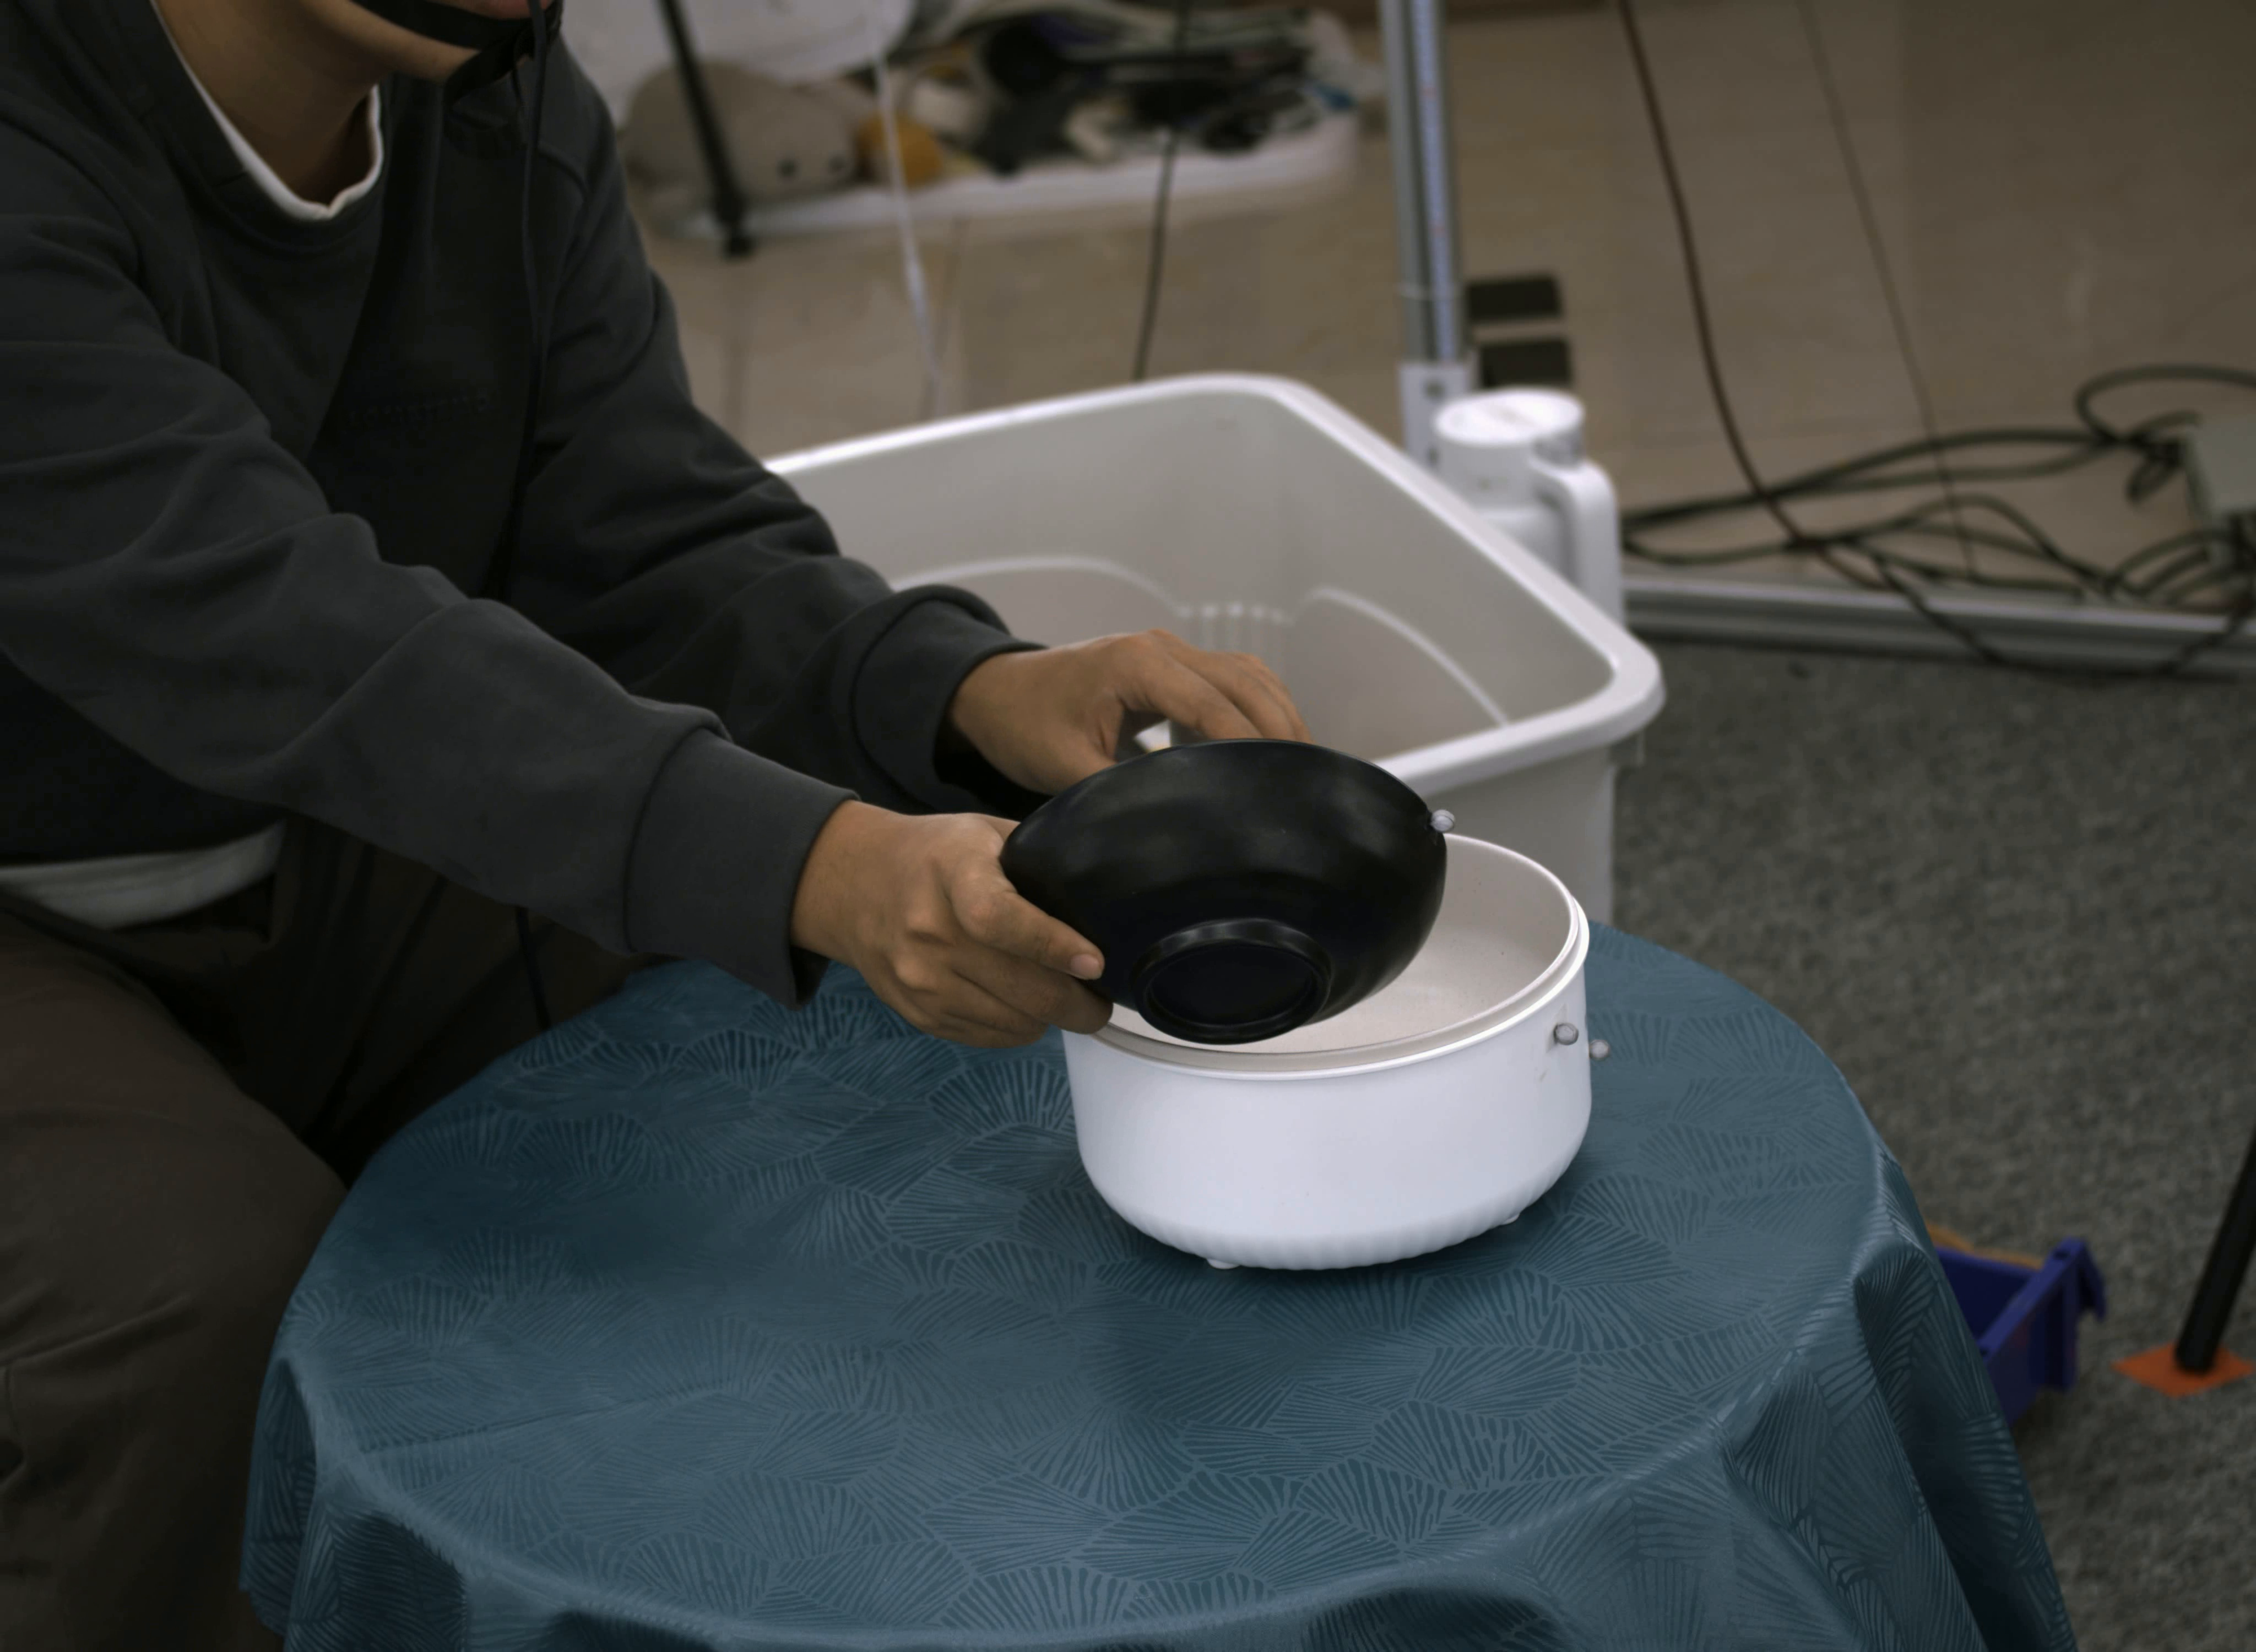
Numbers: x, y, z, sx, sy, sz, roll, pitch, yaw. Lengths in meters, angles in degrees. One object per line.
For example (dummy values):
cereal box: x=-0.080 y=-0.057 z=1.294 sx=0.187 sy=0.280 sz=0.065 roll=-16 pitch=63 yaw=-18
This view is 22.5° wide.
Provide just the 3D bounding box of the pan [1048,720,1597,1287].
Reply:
pan: x=0.065 y=0.065 z=2.193 sx=0.201 sy=0.103 sz=0.350 roll=-12 pitch=23 yaw=-4

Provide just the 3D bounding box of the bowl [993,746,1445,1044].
bowl: x=0.036 y=0.033 z=2.007 sx=0.171 sy=0.139 sz=0.065 roll=13 pitch=53 yaw=-28
